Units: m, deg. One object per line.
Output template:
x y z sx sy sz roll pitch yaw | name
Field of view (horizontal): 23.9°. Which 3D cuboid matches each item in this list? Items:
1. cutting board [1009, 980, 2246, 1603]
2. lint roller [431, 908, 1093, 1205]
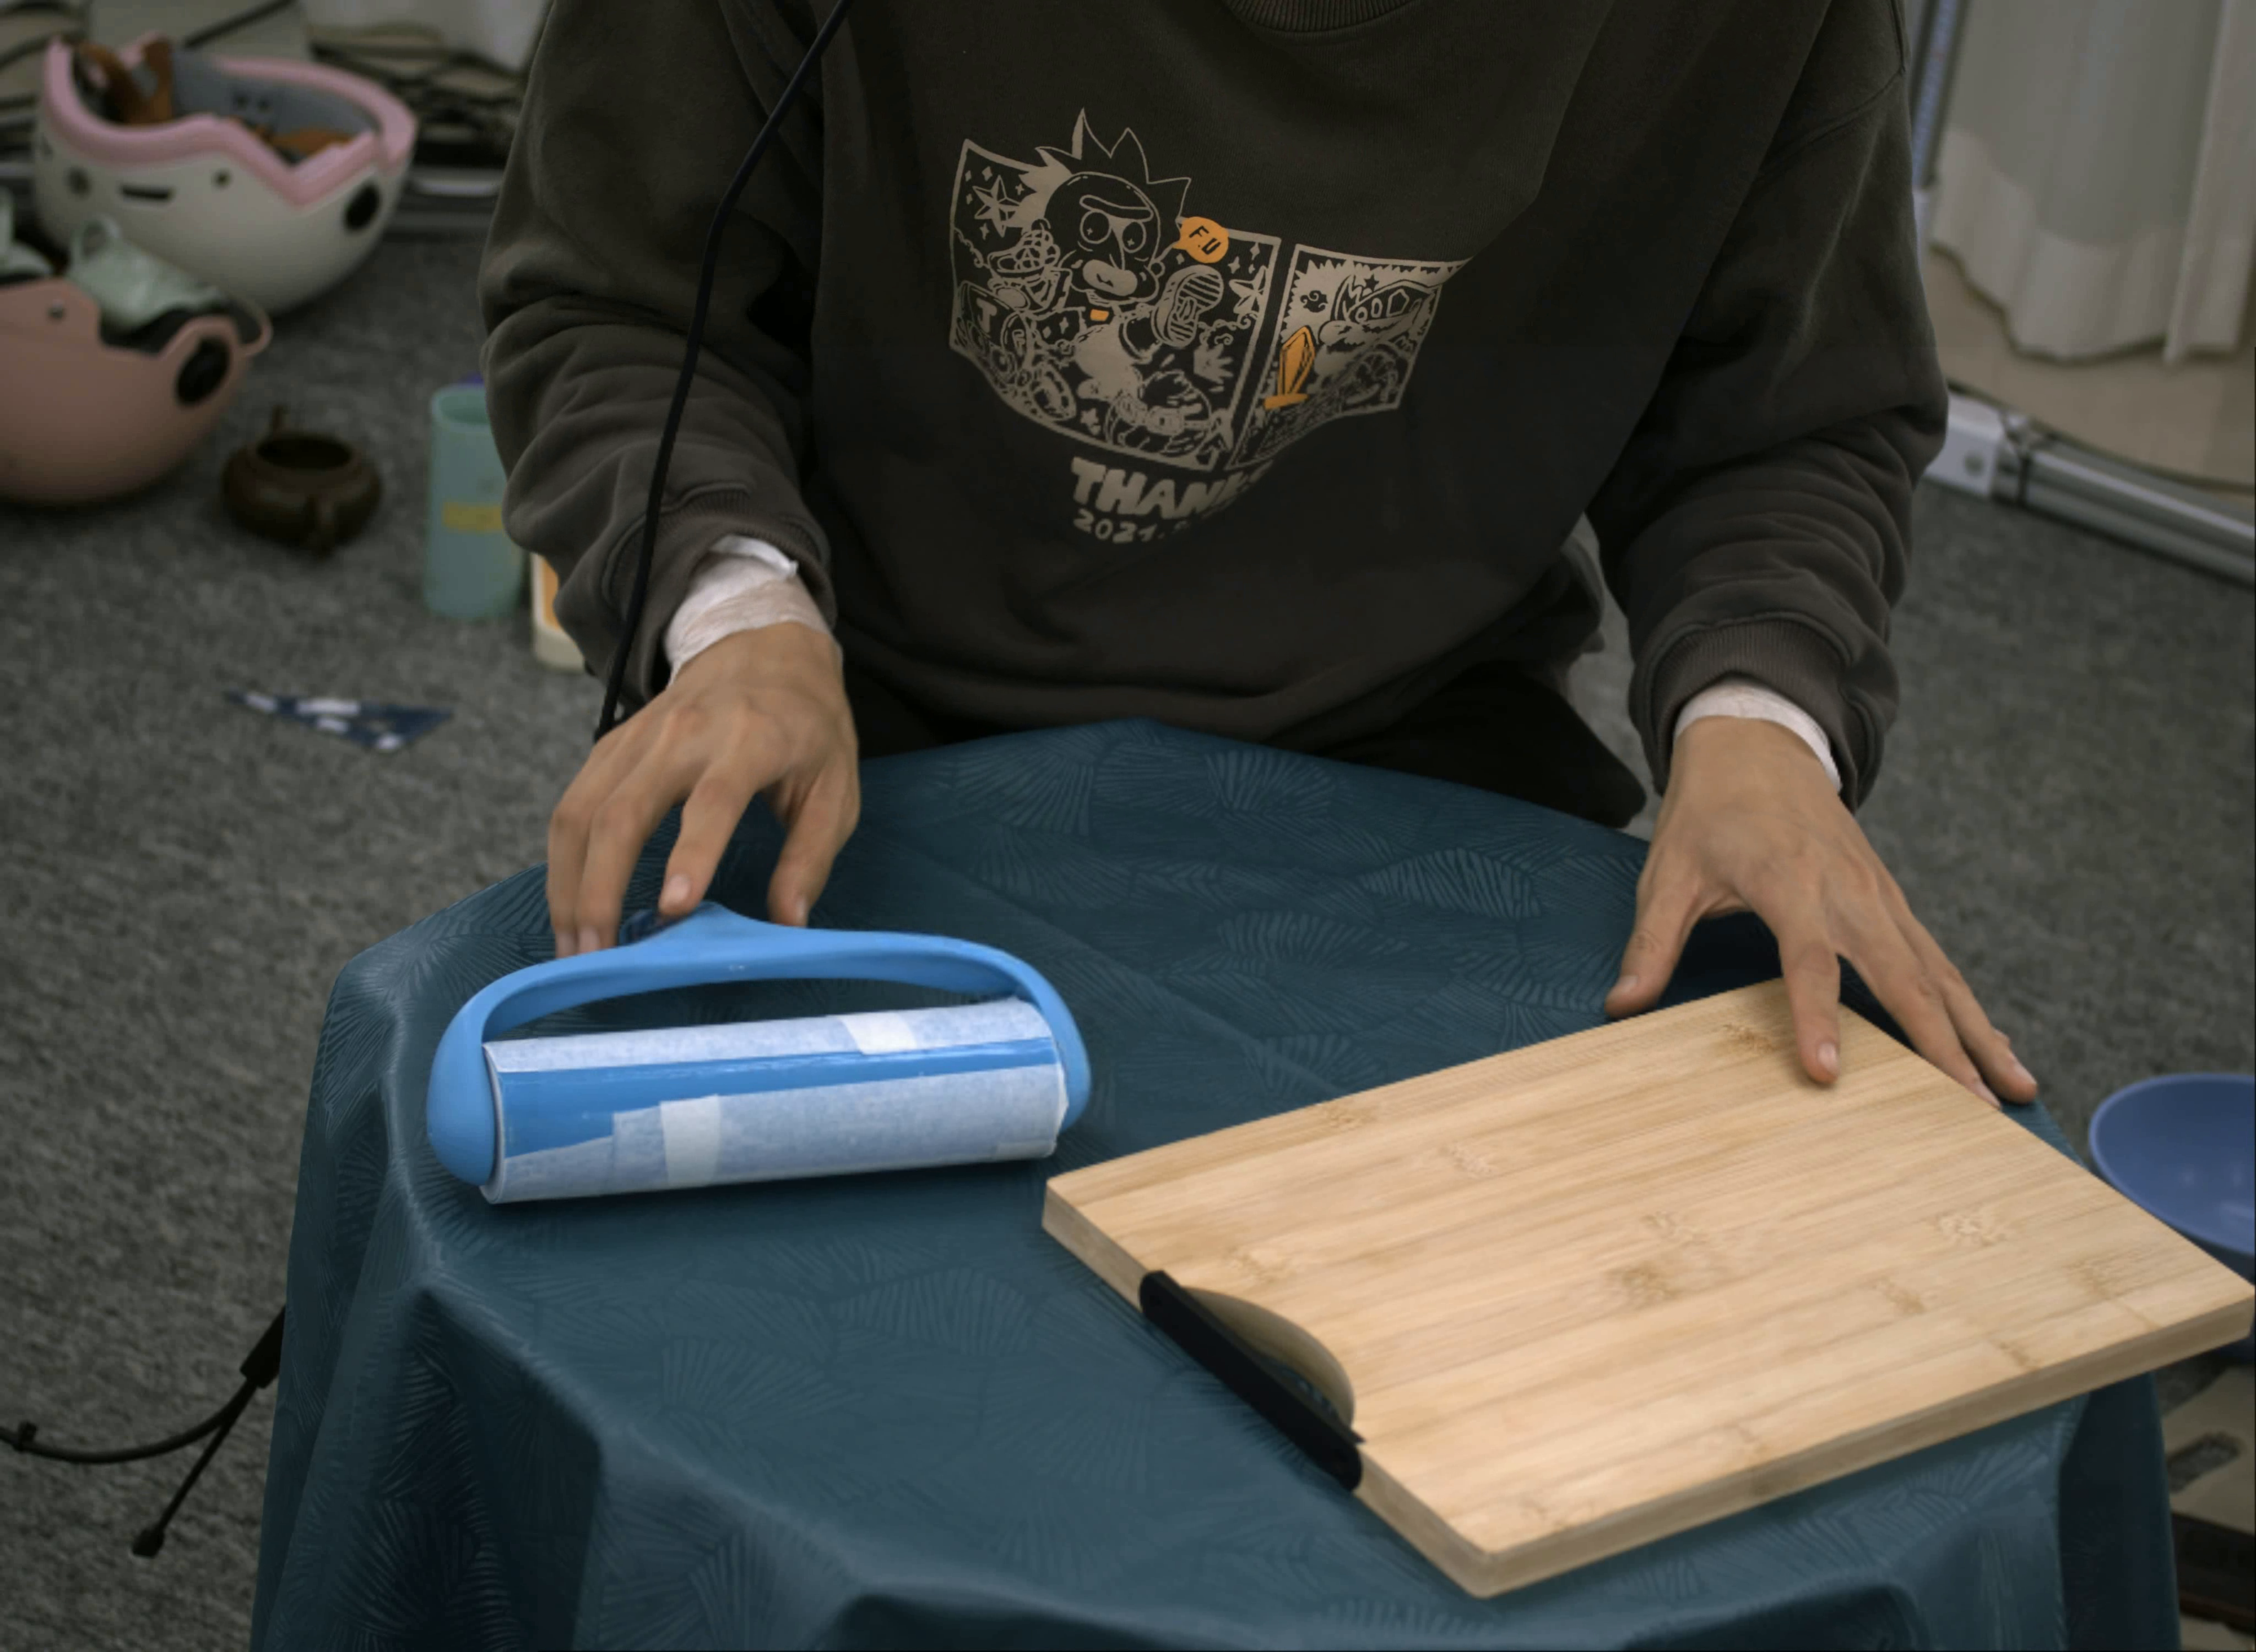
0.170 0.147 1.779 0.346 0.023 0.253 -13 32 -34 | cutting board
-0.141 0.063 1.828 0.227 0.067 0.182 -6 31 -20 | lint roller
